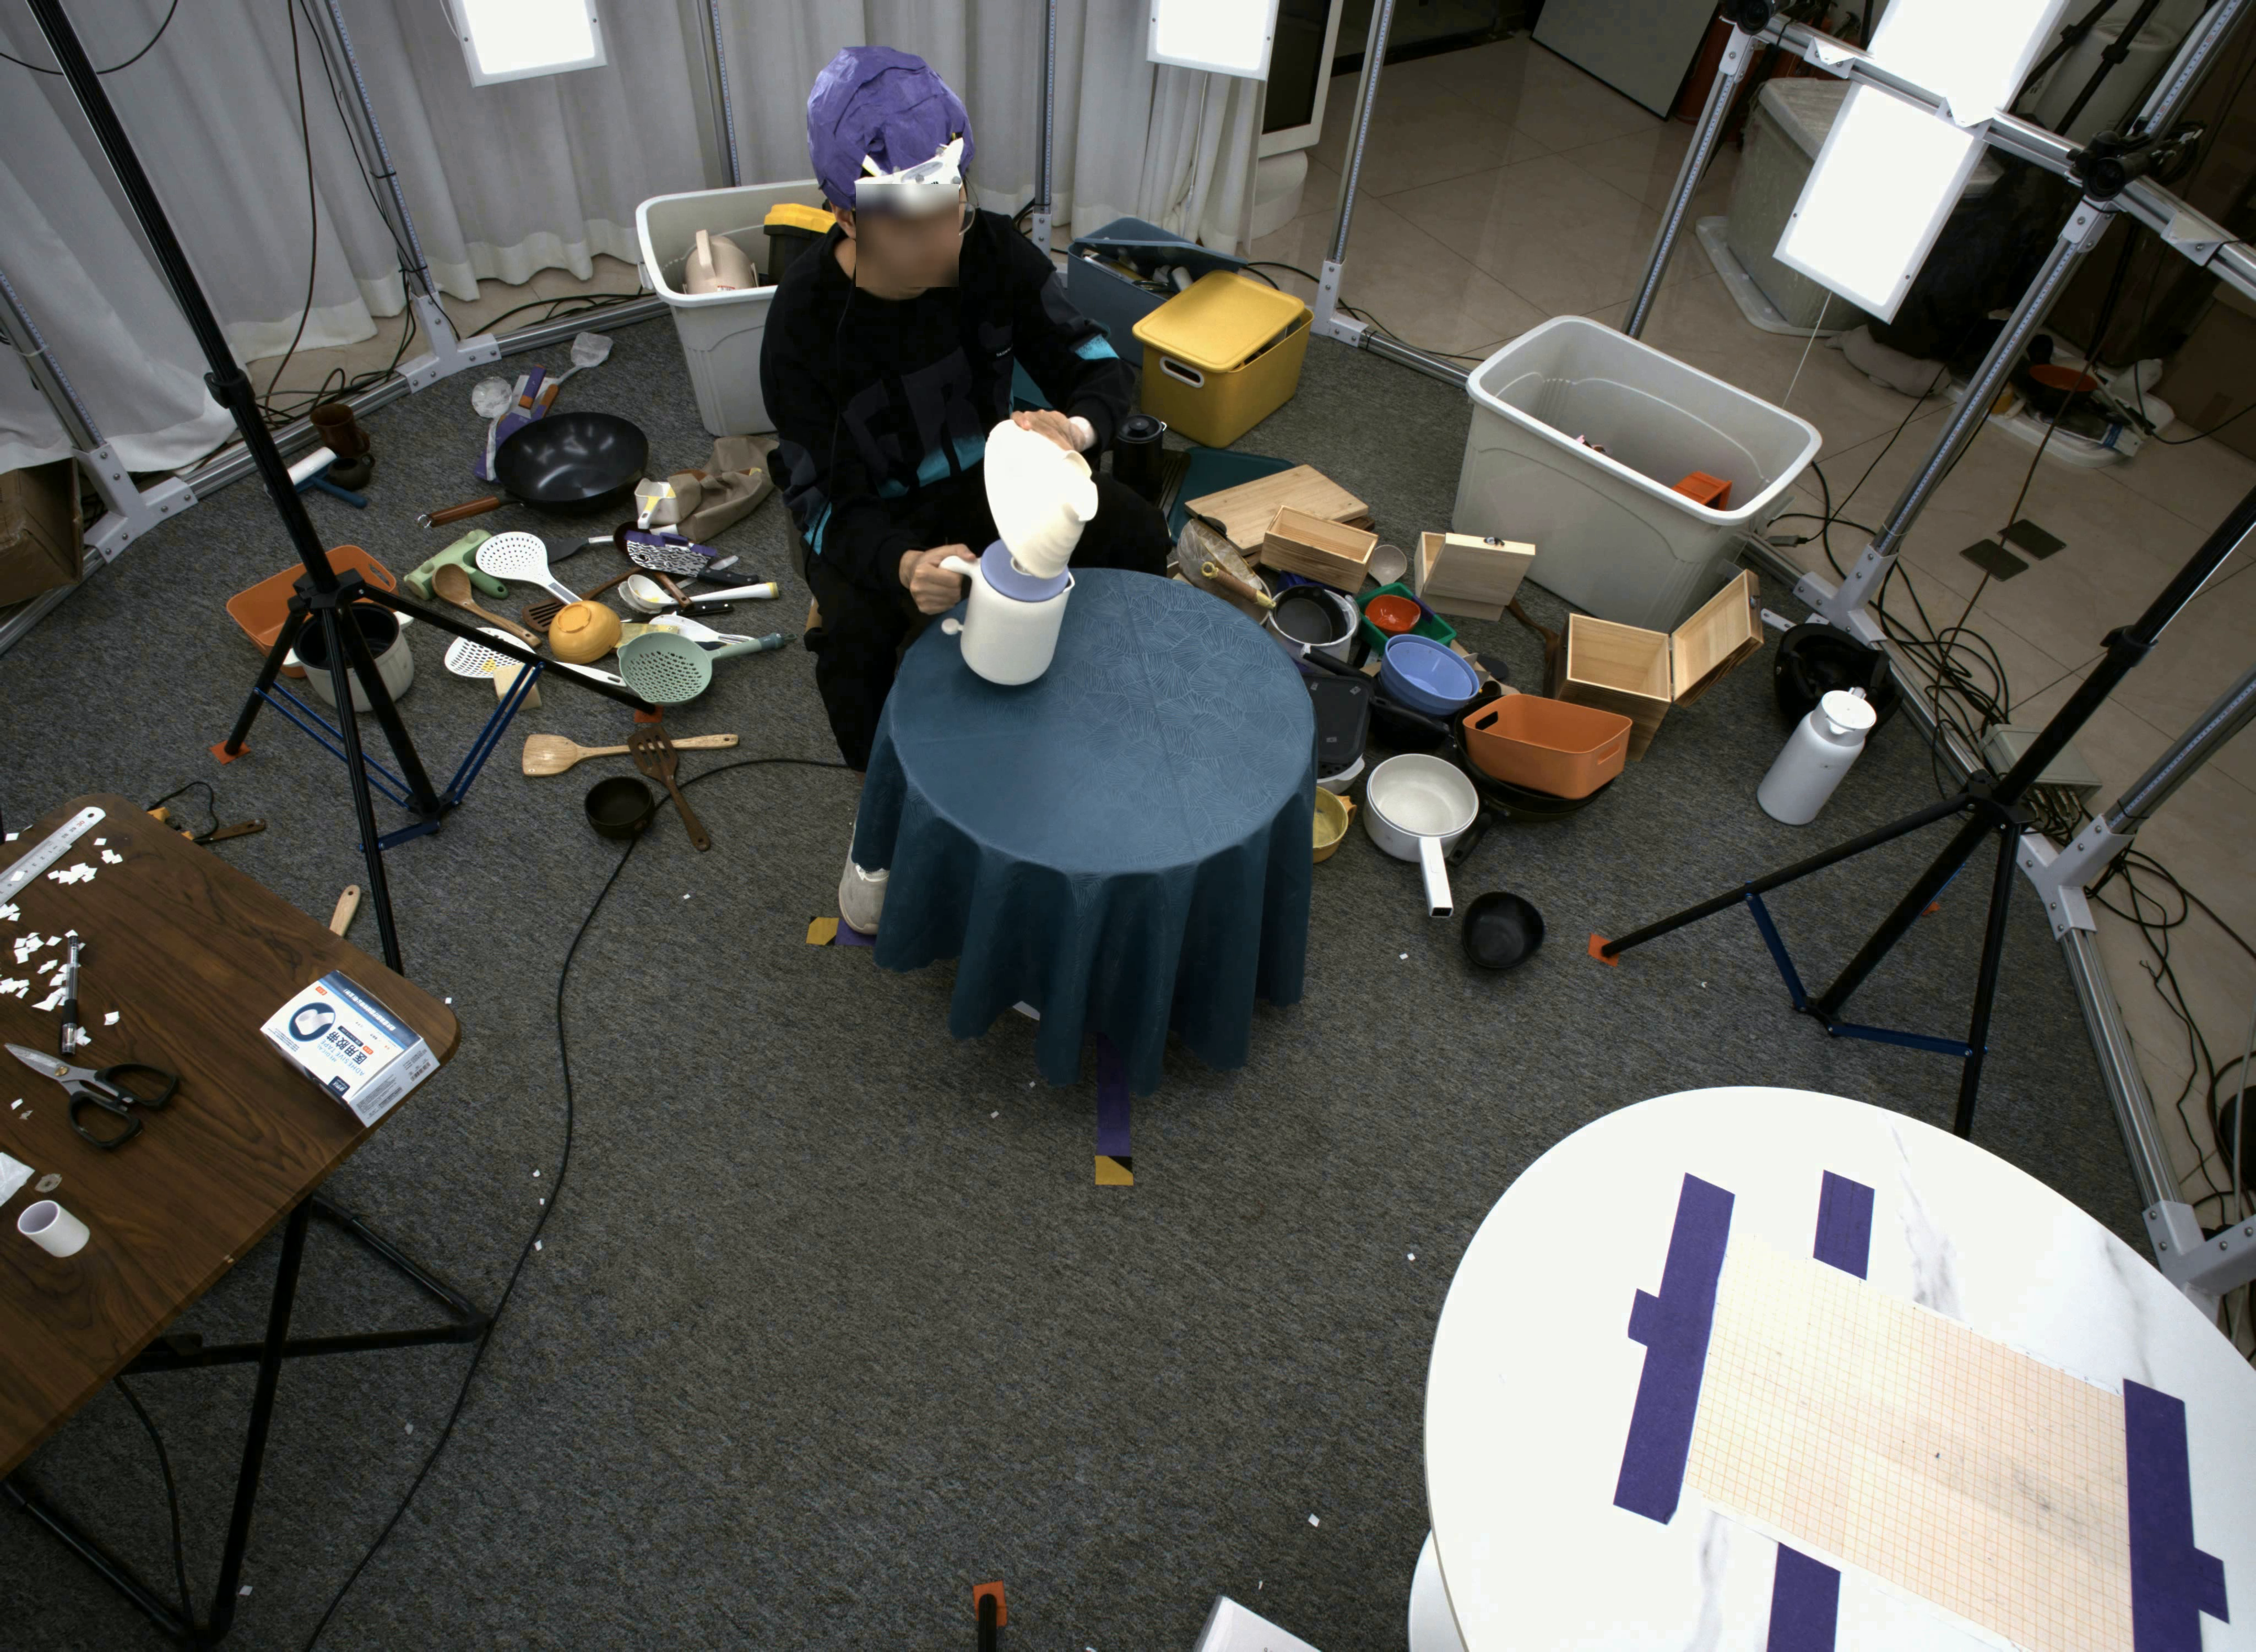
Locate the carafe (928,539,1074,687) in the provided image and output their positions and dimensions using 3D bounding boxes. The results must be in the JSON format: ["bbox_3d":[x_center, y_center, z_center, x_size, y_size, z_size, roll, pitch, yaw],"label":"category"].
[{"bbox_3d":[-0.177,-0.298,1.760,0.191,0.178,0.135,13,51,-2],"label":"carafe"}]

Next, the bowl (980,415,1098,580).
[{"bbox_3d":[-0.092,-0.412,1.594,0.078,0.199,0.208,-8,42,30],"label":"bowl"}]
